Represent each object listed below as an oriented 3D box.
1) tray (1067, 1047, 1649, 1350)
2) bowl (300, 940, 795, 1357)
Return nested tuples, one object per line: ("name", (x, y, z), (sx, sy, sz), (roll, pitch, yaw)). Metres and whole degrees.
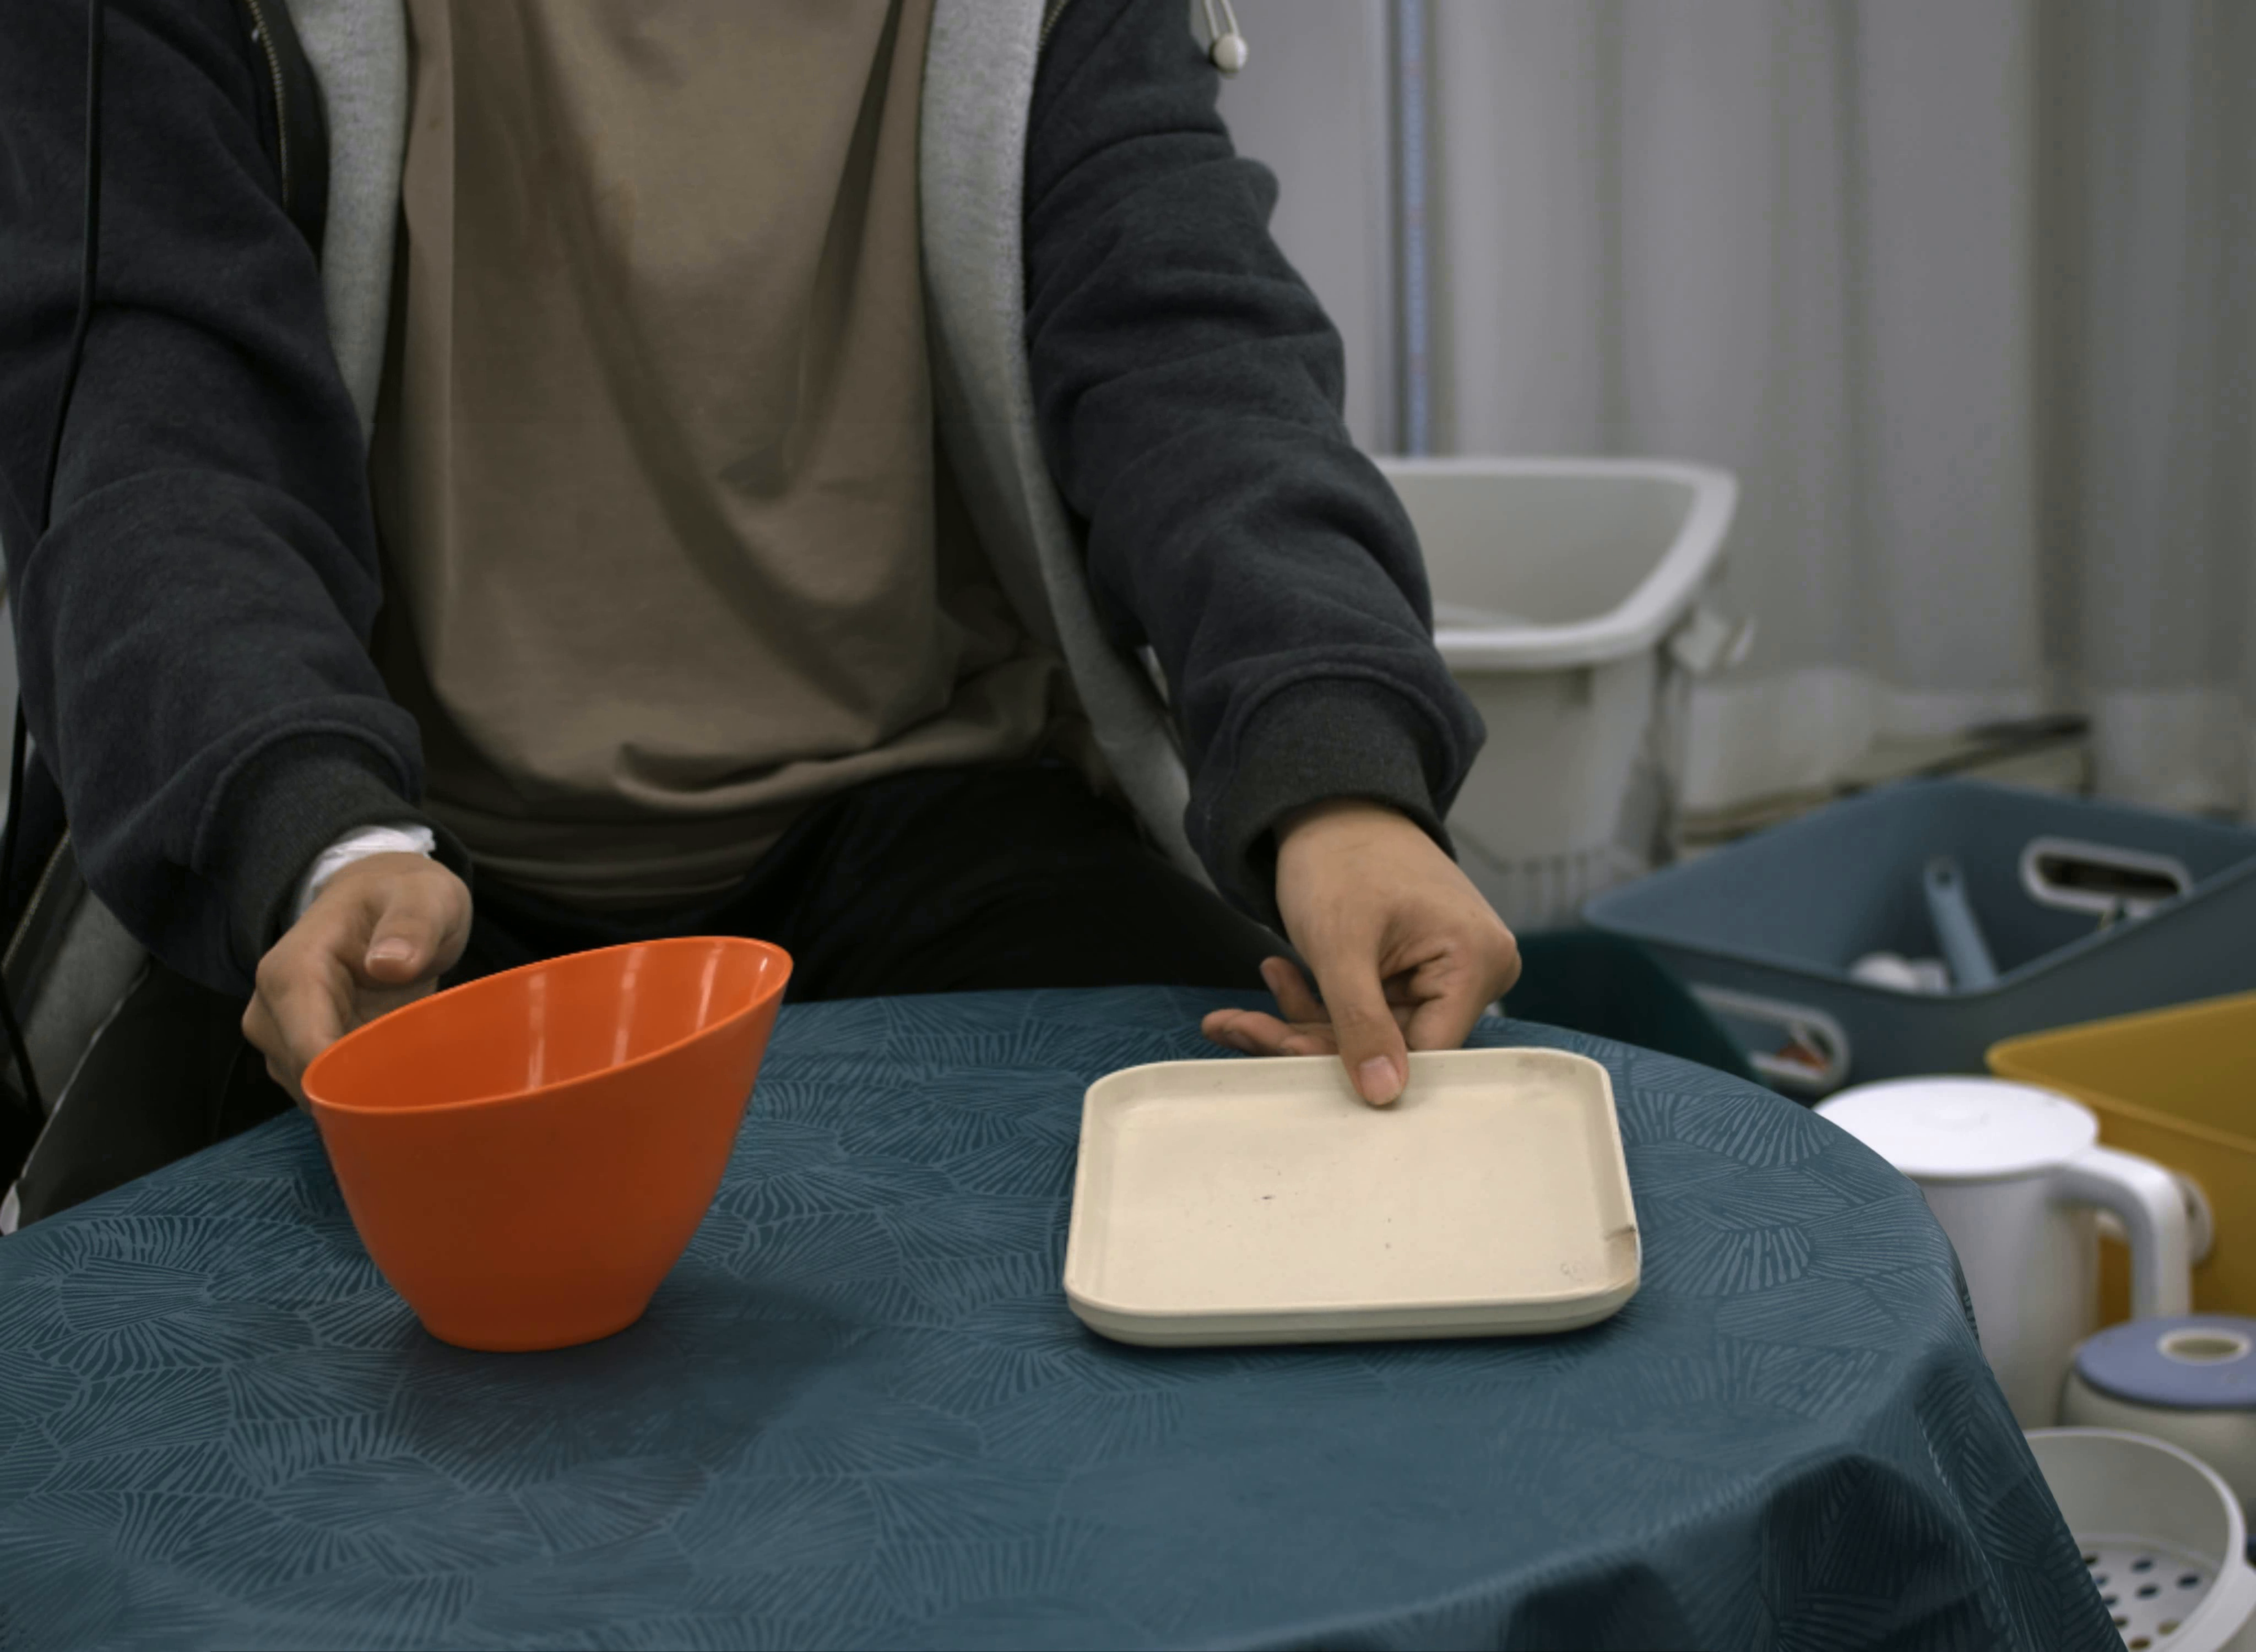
("tray", (0.069, 0.113, 1.675), (0.171, 0.017, 0.241), (-3, 15, 2))
("bowl", (-0.169, 0.097, 1.618), (0.147, 0.104, 0.149), (-3, 15, 0))
